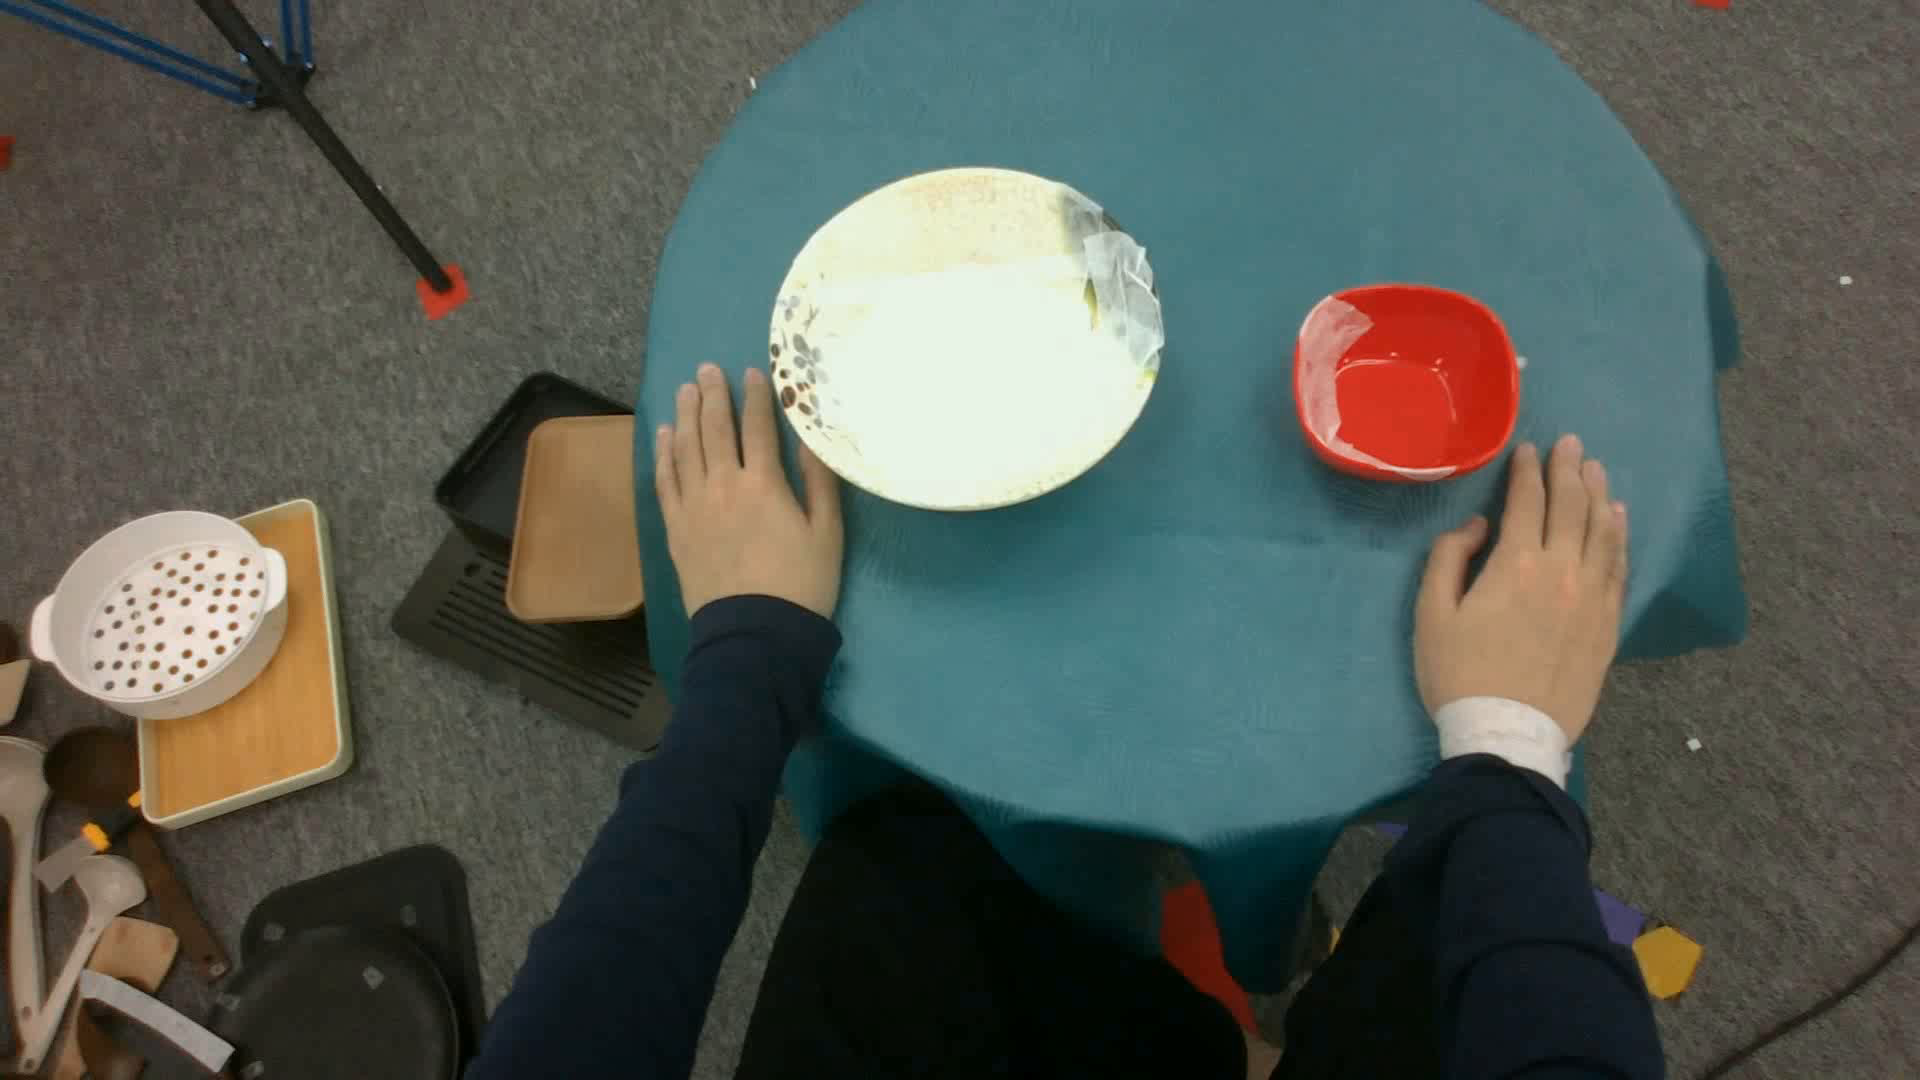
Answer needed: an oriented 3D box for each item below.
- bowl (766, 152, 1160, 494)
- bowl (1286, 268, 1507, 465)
[{"bbox_3d":[0.004,-0.103,0.740,0.204,0.078,0.204,-2,67,5],"label":"bowl"},{"bbox_3d":[0.224,-0.083,0.724,0.119,0.051,0.119,-1,66,3],"label":"bowl"}]
